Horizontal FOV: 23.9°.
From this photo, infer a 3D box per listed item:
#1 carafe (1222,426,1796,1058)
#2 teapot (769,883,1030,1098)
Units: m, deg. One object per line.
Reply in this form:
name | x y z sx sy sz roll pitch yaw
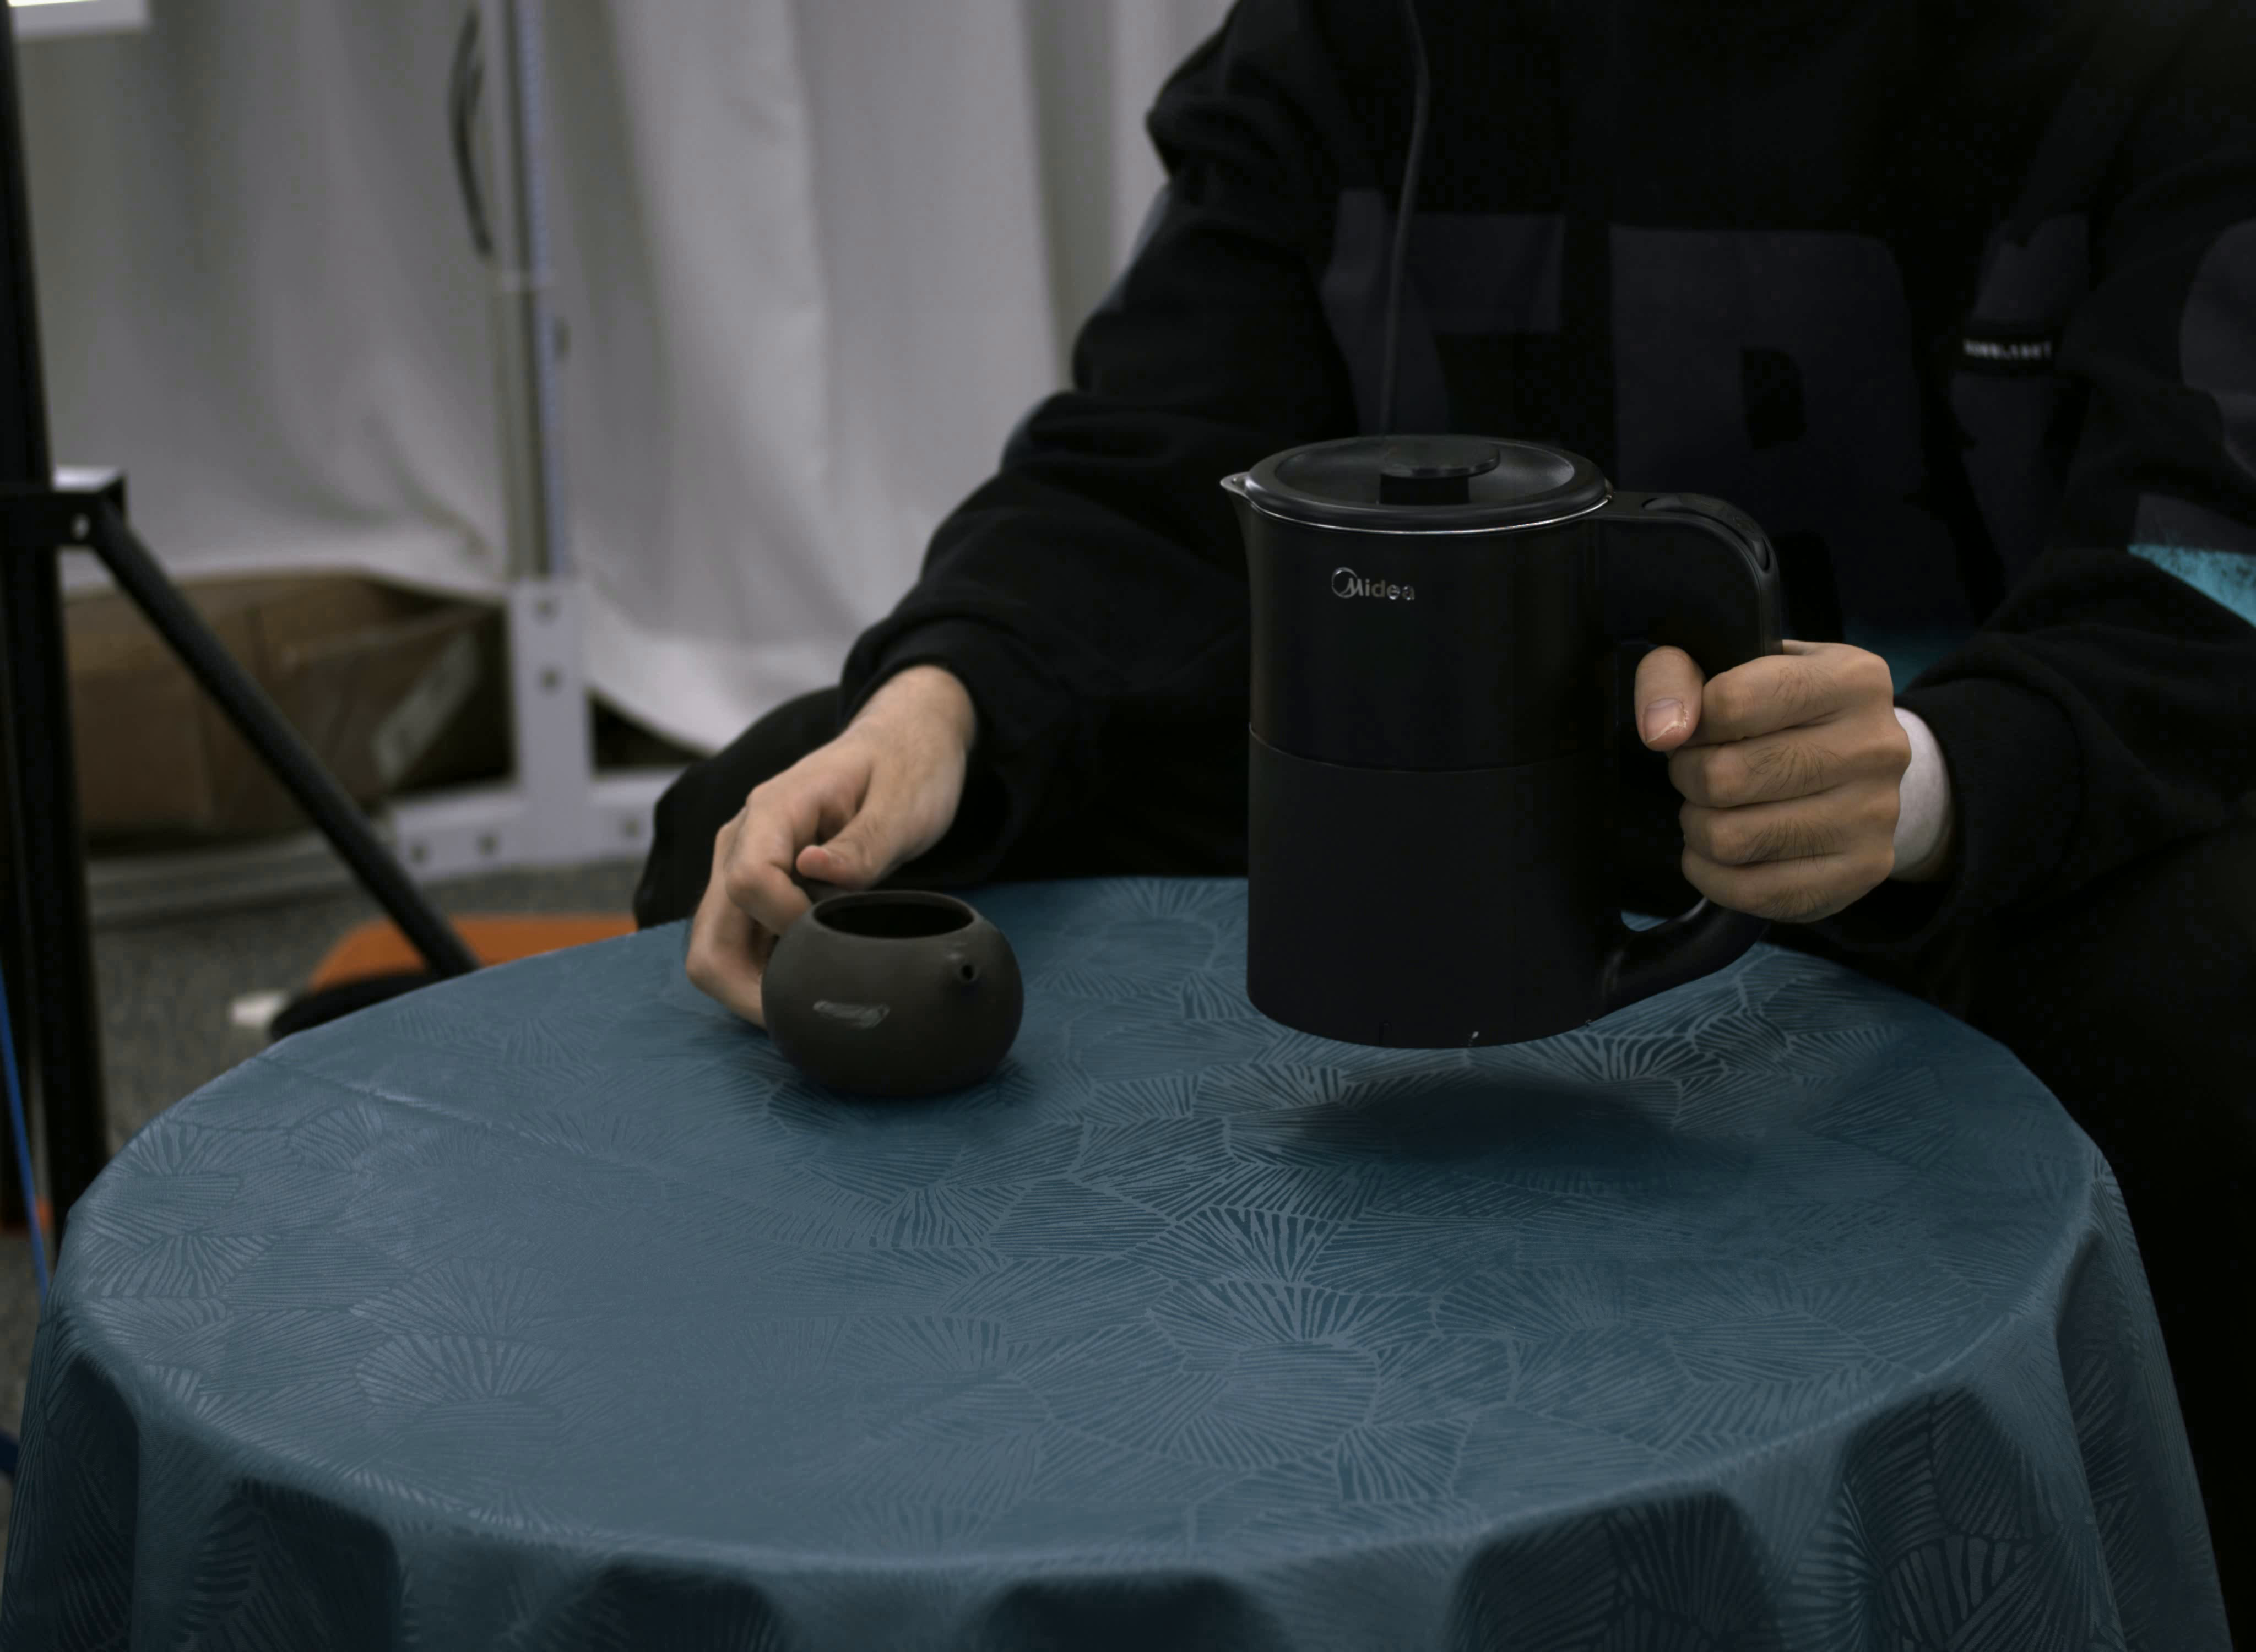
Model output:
carafe | 0.112 -0.029 1.575 0.173 0.173 0.113 2 14 18
teapot | -0.077 0.049 1.677 0.081 0.053 0.116 -4 19 -29
